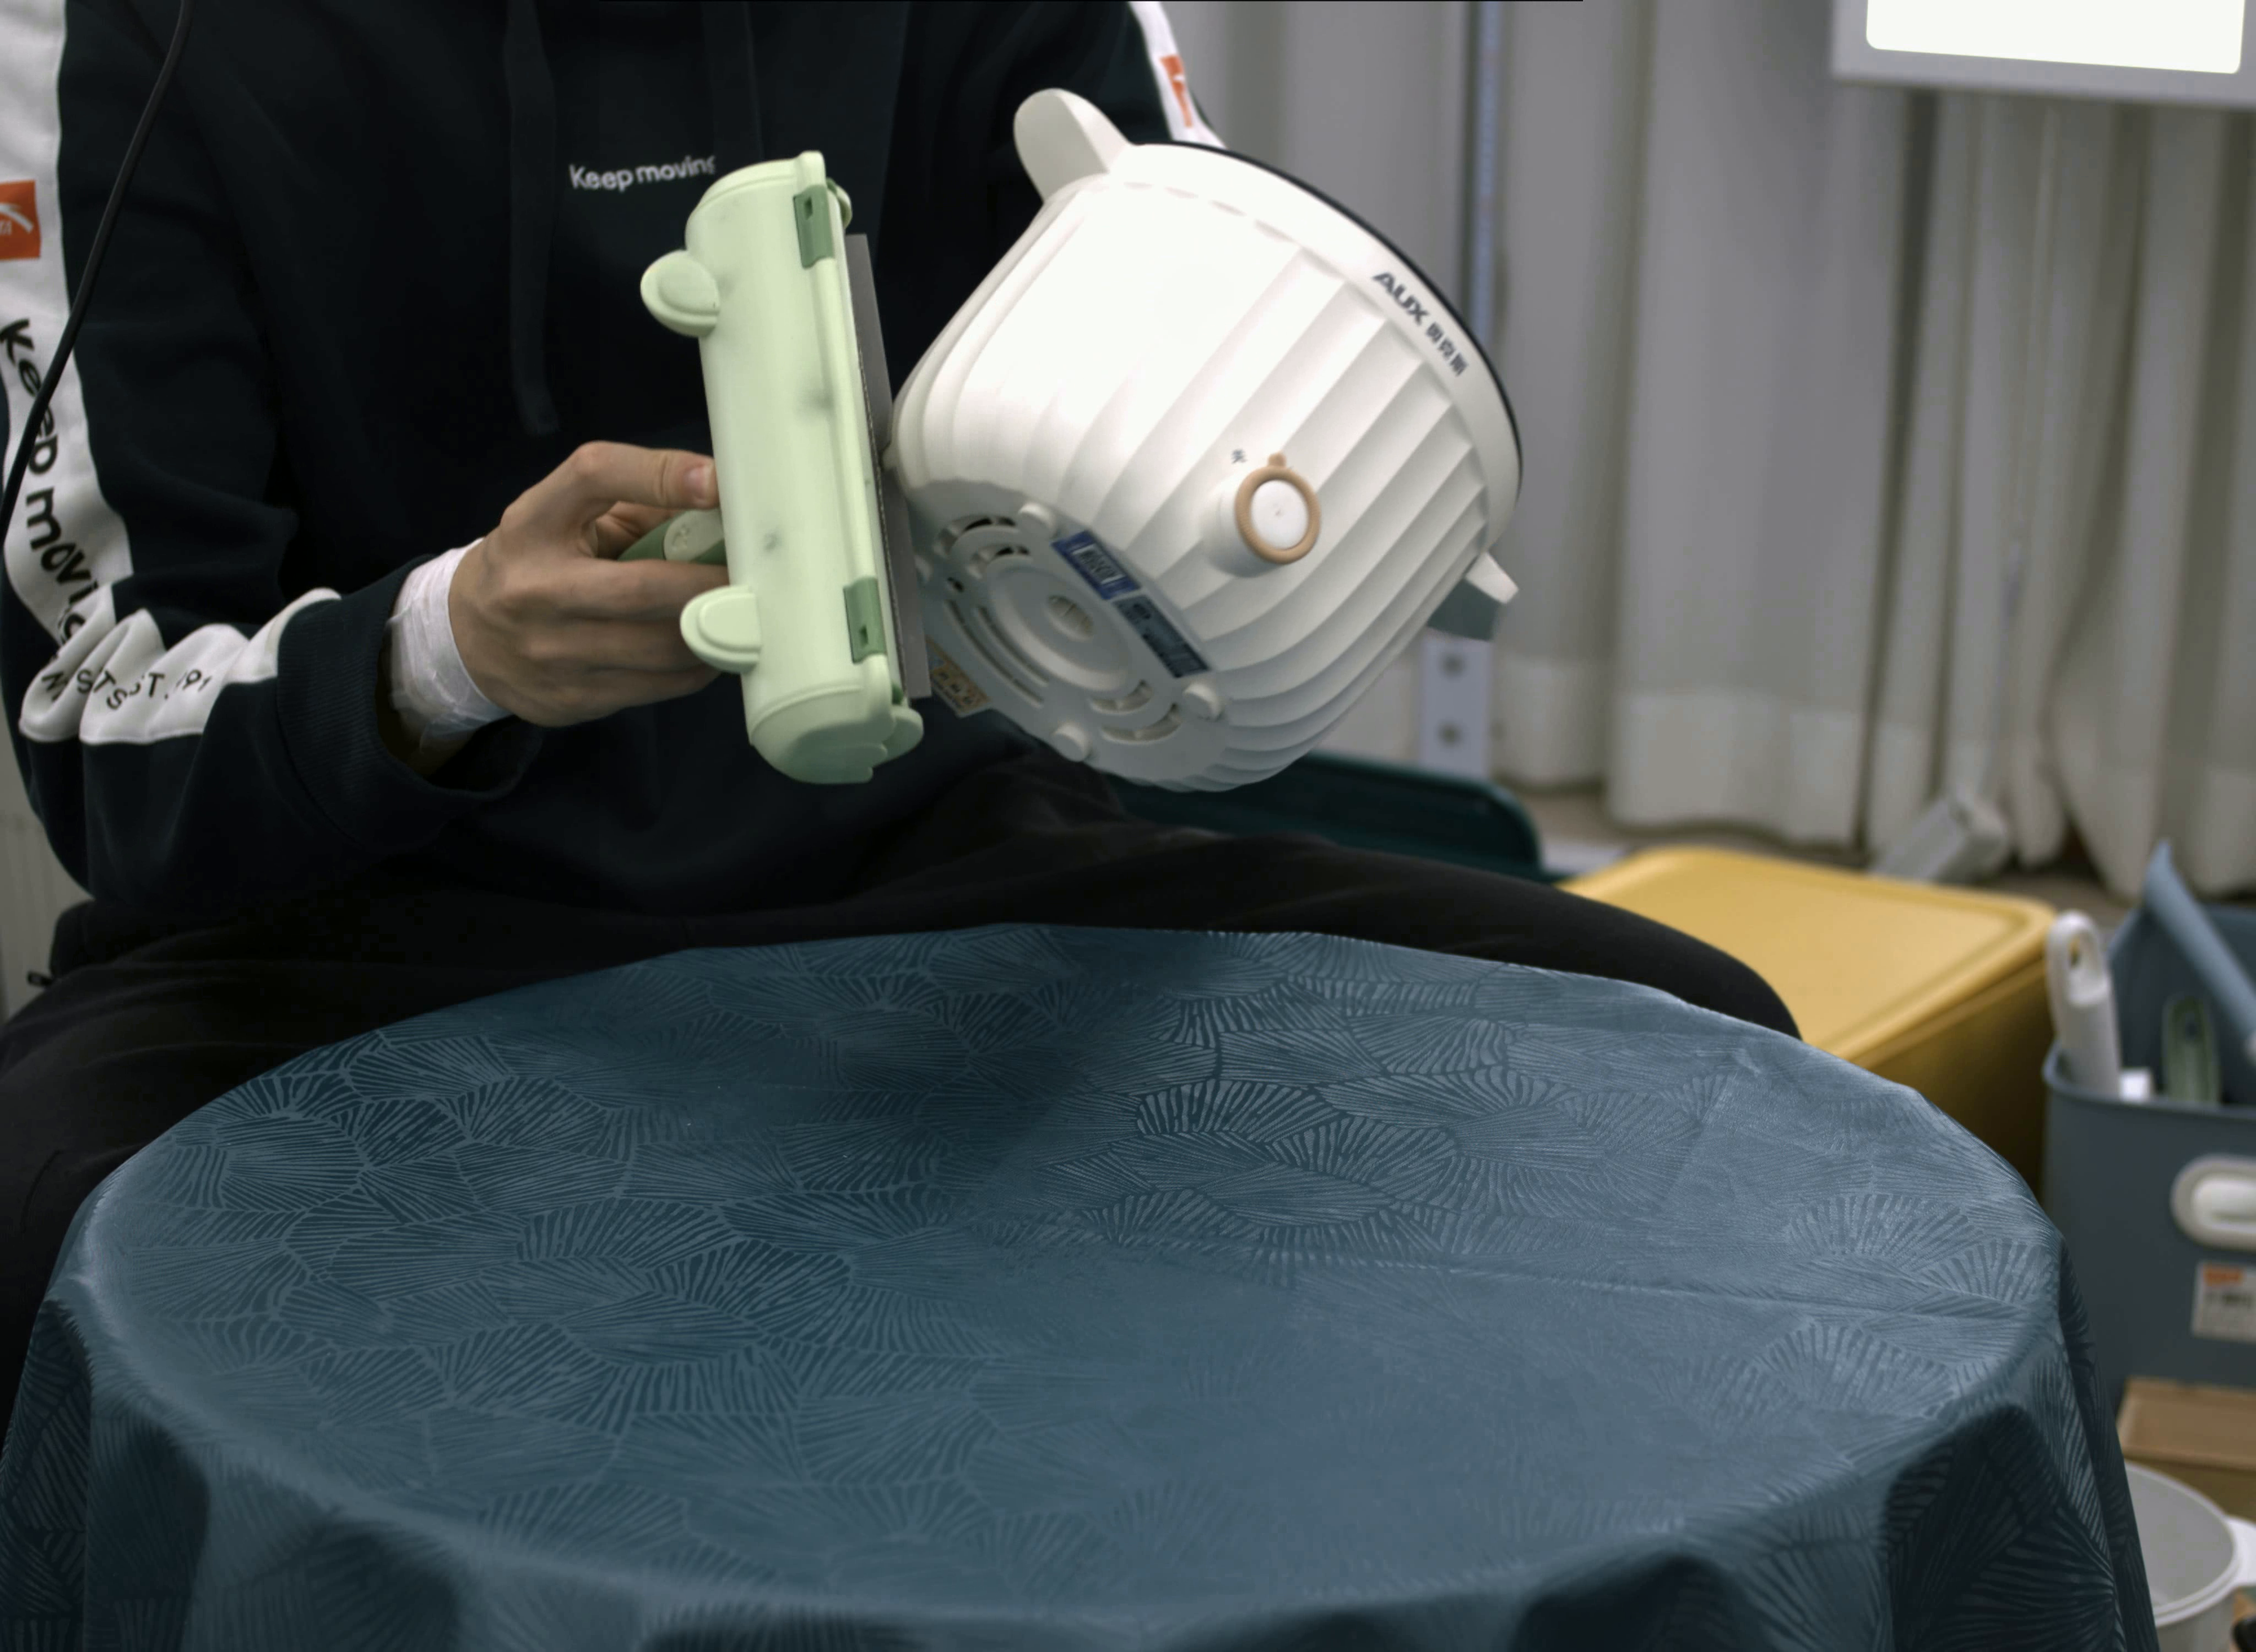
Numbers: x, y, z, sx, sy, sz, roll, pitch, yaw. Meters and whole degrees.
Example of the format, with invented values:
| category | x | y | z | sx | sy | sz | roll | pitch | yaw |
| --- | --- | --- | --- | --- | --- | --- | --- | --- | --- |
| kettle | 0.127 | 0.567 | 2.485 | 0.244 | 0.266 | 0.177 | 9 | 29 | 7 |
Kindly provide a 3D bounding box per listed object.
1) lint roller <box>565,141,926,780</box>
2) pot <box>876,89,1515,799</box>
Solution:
| category | x | y | z | sx | sy | sz | roll | pitch | yaw |
| --- | --- | --- | --- | --- | --- | --- | --- | --- | --- |
| lint roller | -0.143 | -0.094 | 1.661 | 0.083 | 0.197 | 0.182 | 12 | -29 | -42 |
| pot | 0.015 | -0.104 | 1.668 | 0.189 | 0.242 | 0.142 | -17 | 31 | 53 |
